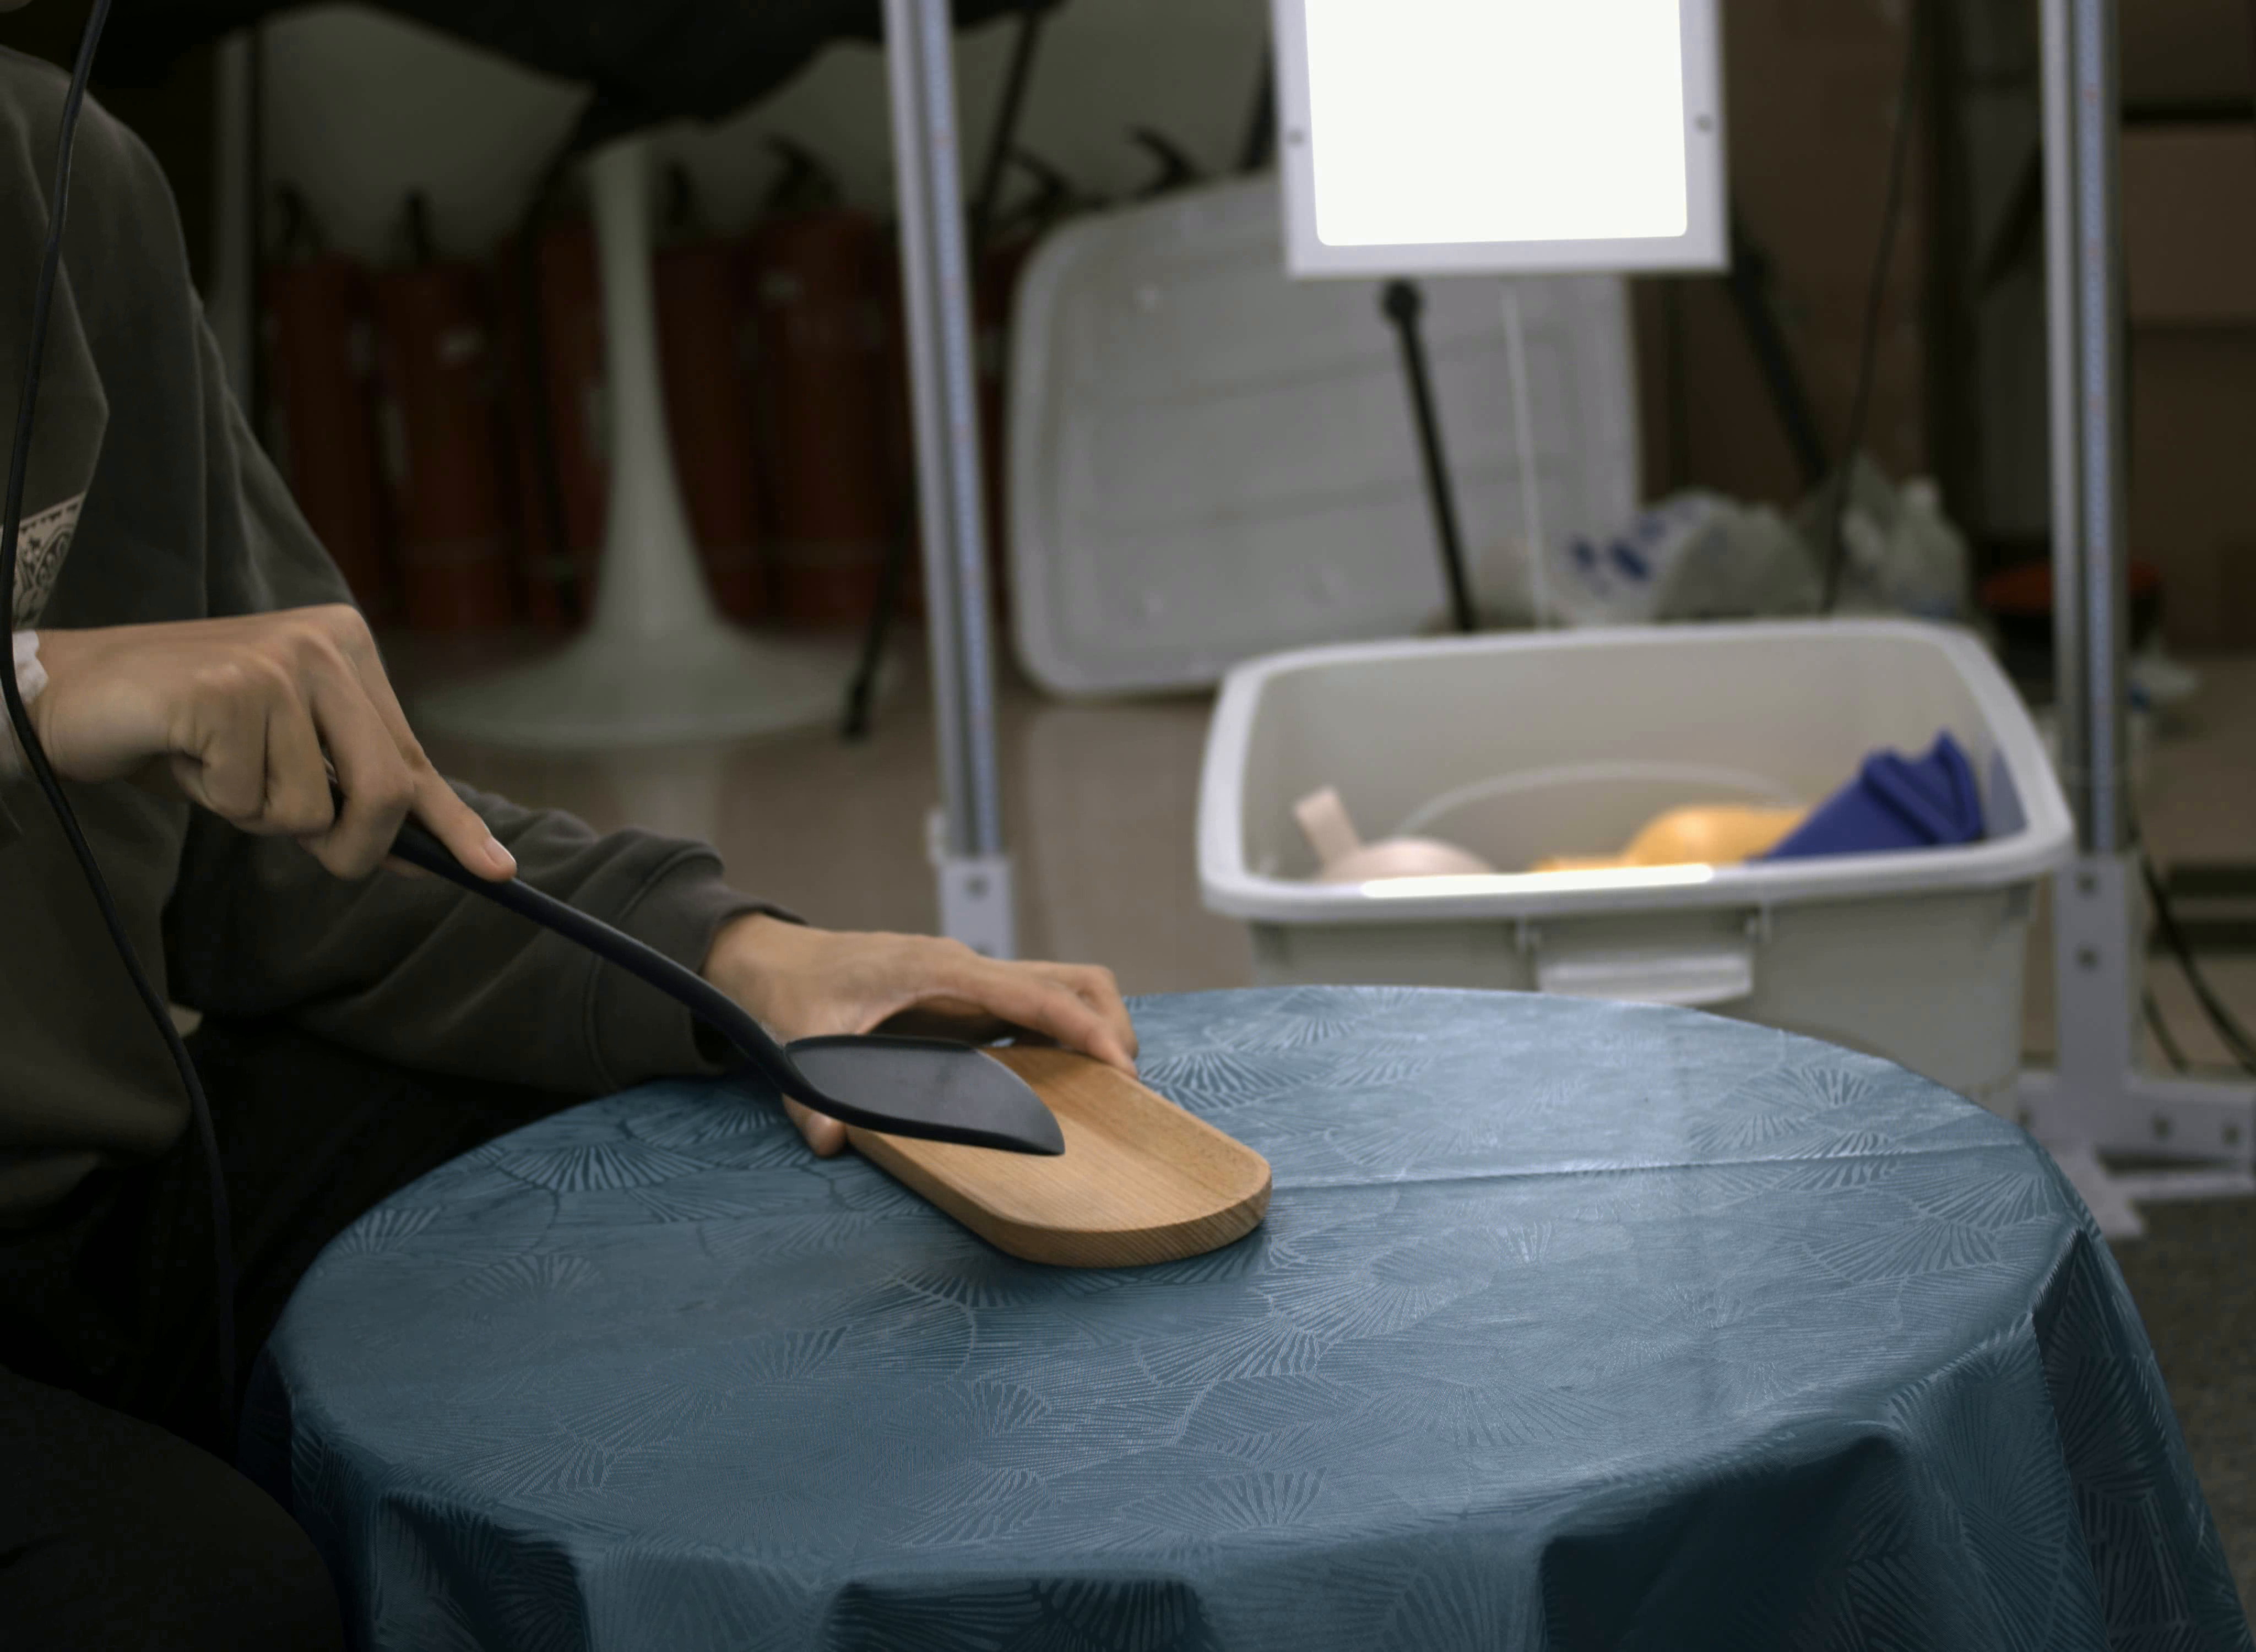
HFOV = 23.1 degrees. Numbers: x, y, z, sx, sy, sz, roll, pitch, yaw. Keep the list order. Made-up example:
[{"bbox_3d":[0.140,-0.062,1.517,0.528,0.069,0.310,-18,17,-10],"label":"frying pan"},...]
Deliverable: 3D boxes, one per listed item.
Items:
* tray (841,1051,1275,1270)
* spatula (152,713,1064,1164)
[{"bbox_3d":[-0.027,0.115,1.919,0.100,0.020,0.234,-12,17,-21],"label":"tray"},{"bbox_3d":[-0.166,0.034,1.775,0.322,0.040,0.100,31,6,-19],"label":"spatula"}]
